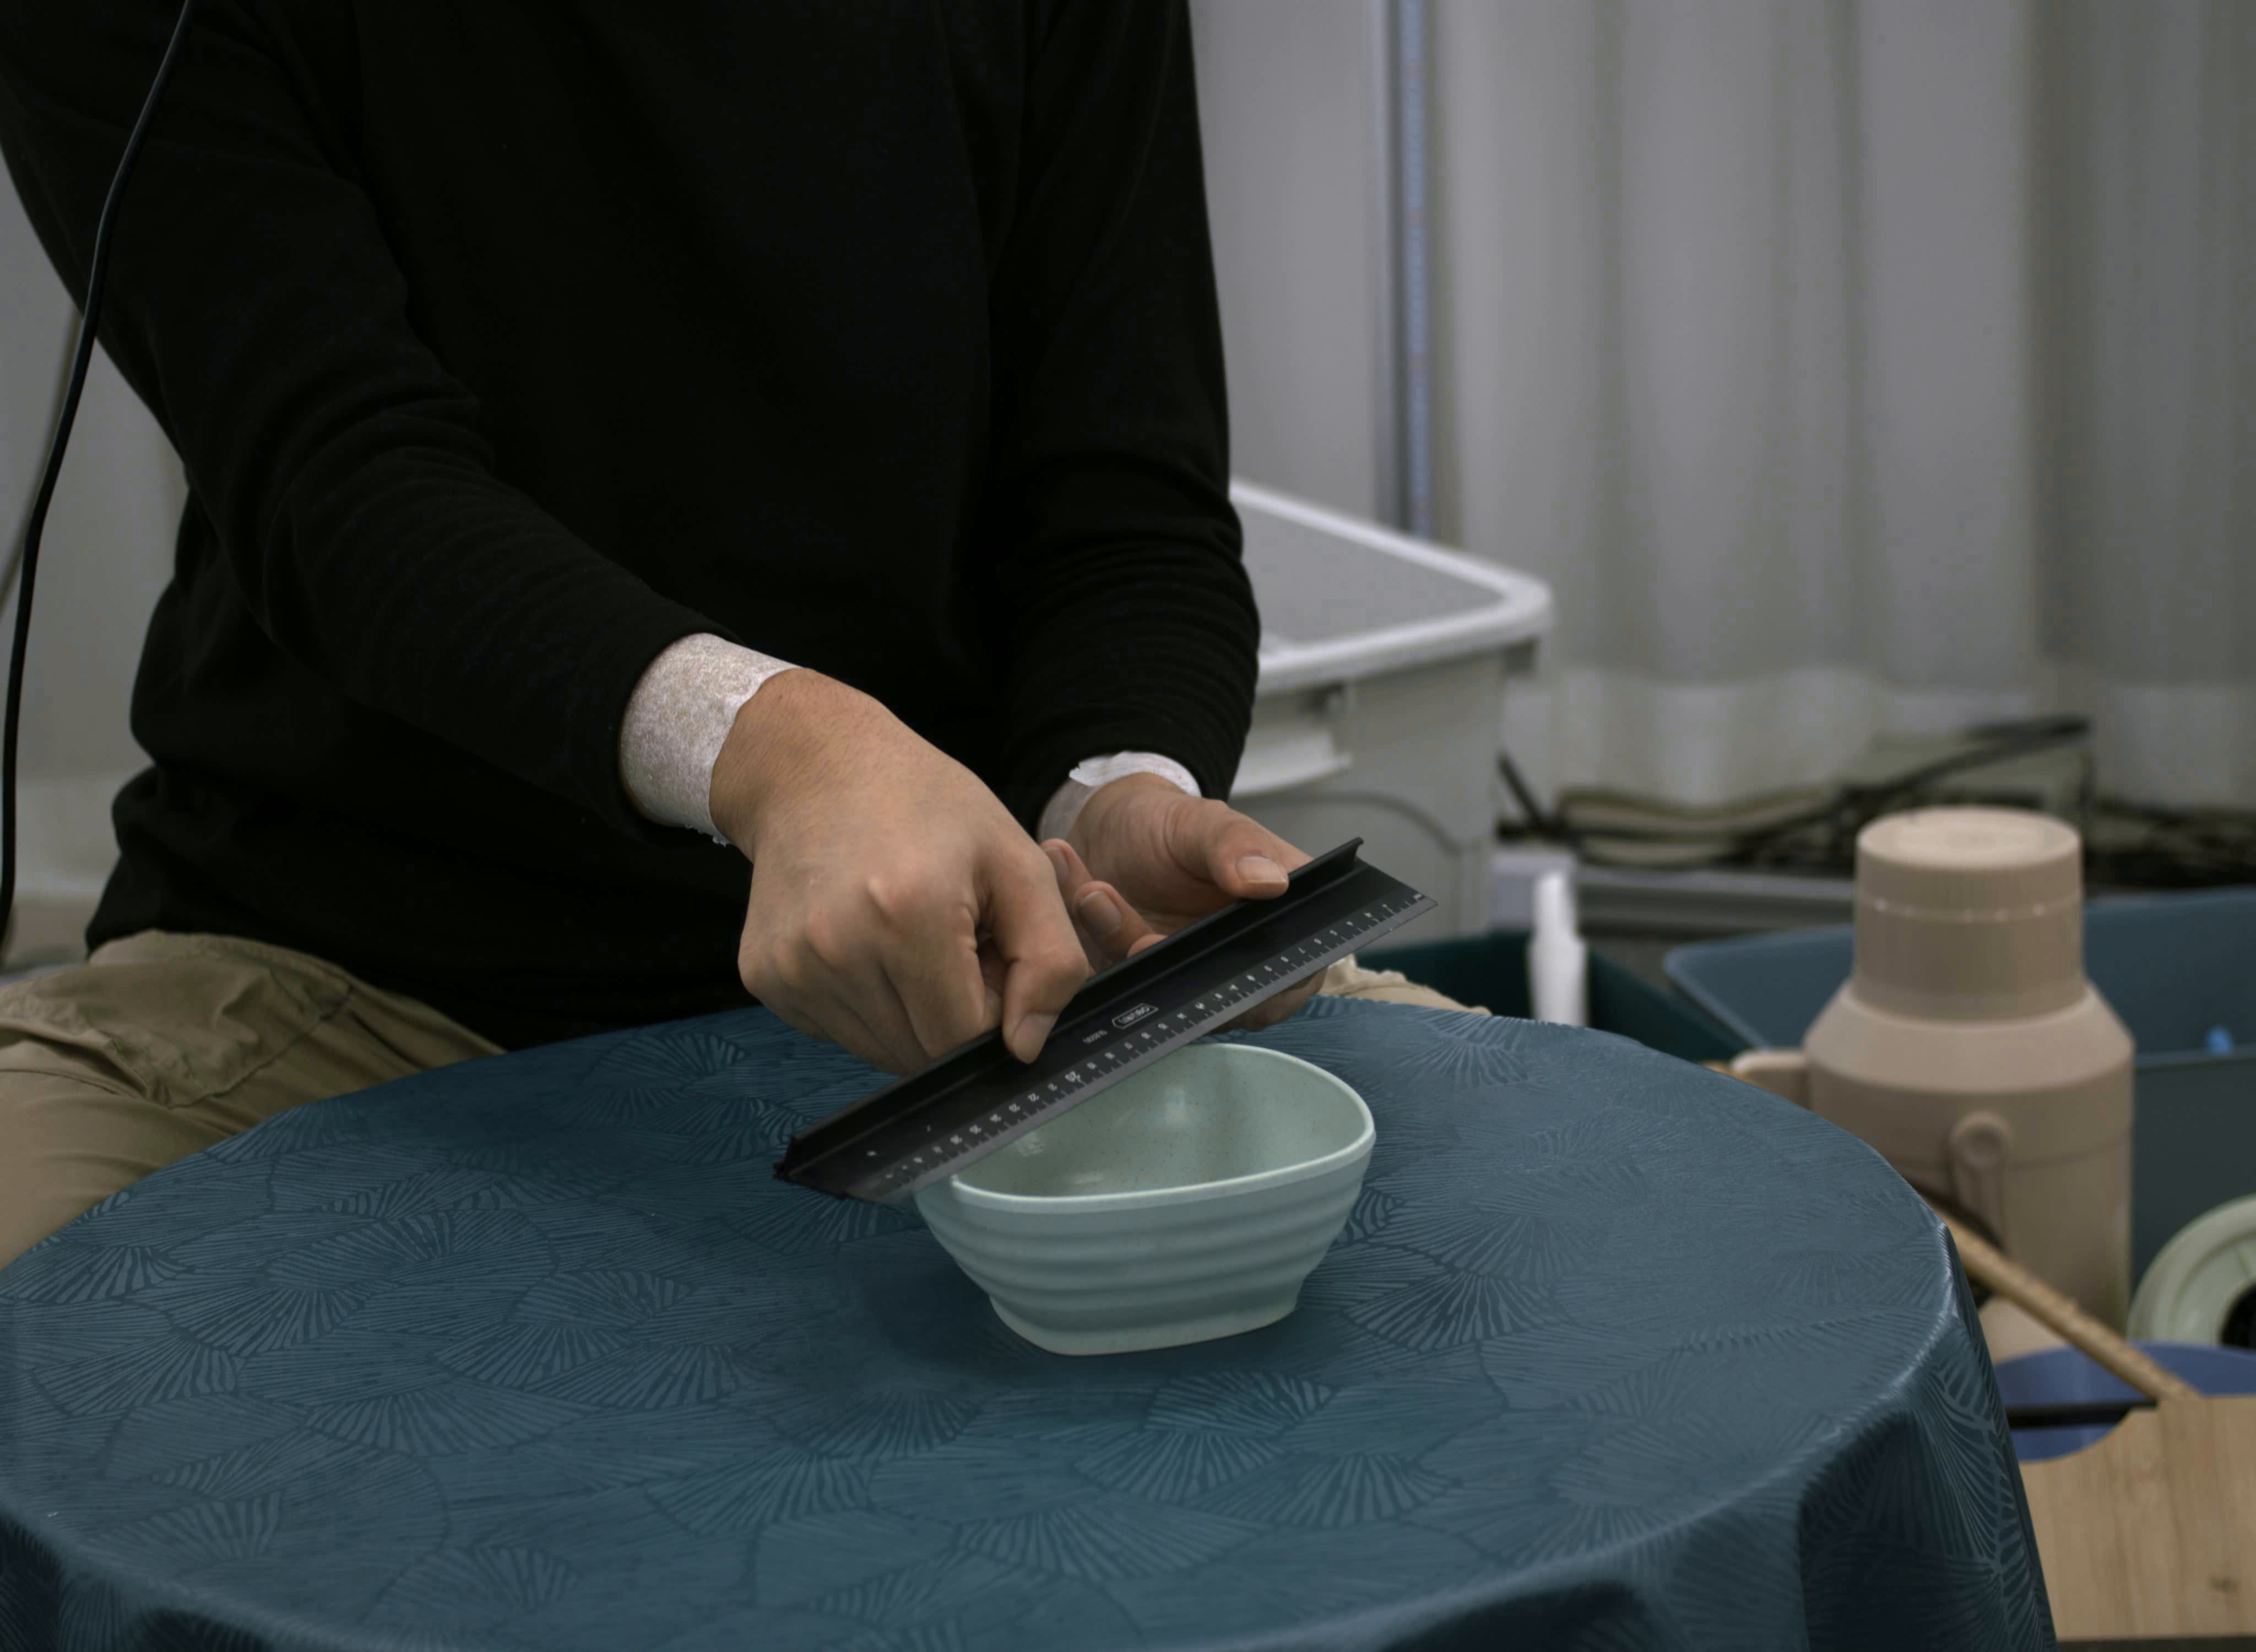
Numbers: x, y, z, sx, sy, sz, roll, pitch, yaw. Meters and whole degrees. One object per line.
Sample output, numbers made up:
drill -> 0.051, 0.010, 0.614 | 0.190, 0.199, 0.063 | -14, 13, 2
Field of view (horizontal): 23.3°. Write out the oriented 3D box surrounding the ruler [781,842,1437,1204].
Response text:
ruler -> 0.002, 0.056, 1.656 | 0.039, 0.017, 0.313 | 20, 26, 28

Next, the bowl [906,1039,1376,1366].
bowl -> 0.002, 0.114, 1.610 | 0.151, 0.058, 0.152 | -3, 16, 1
